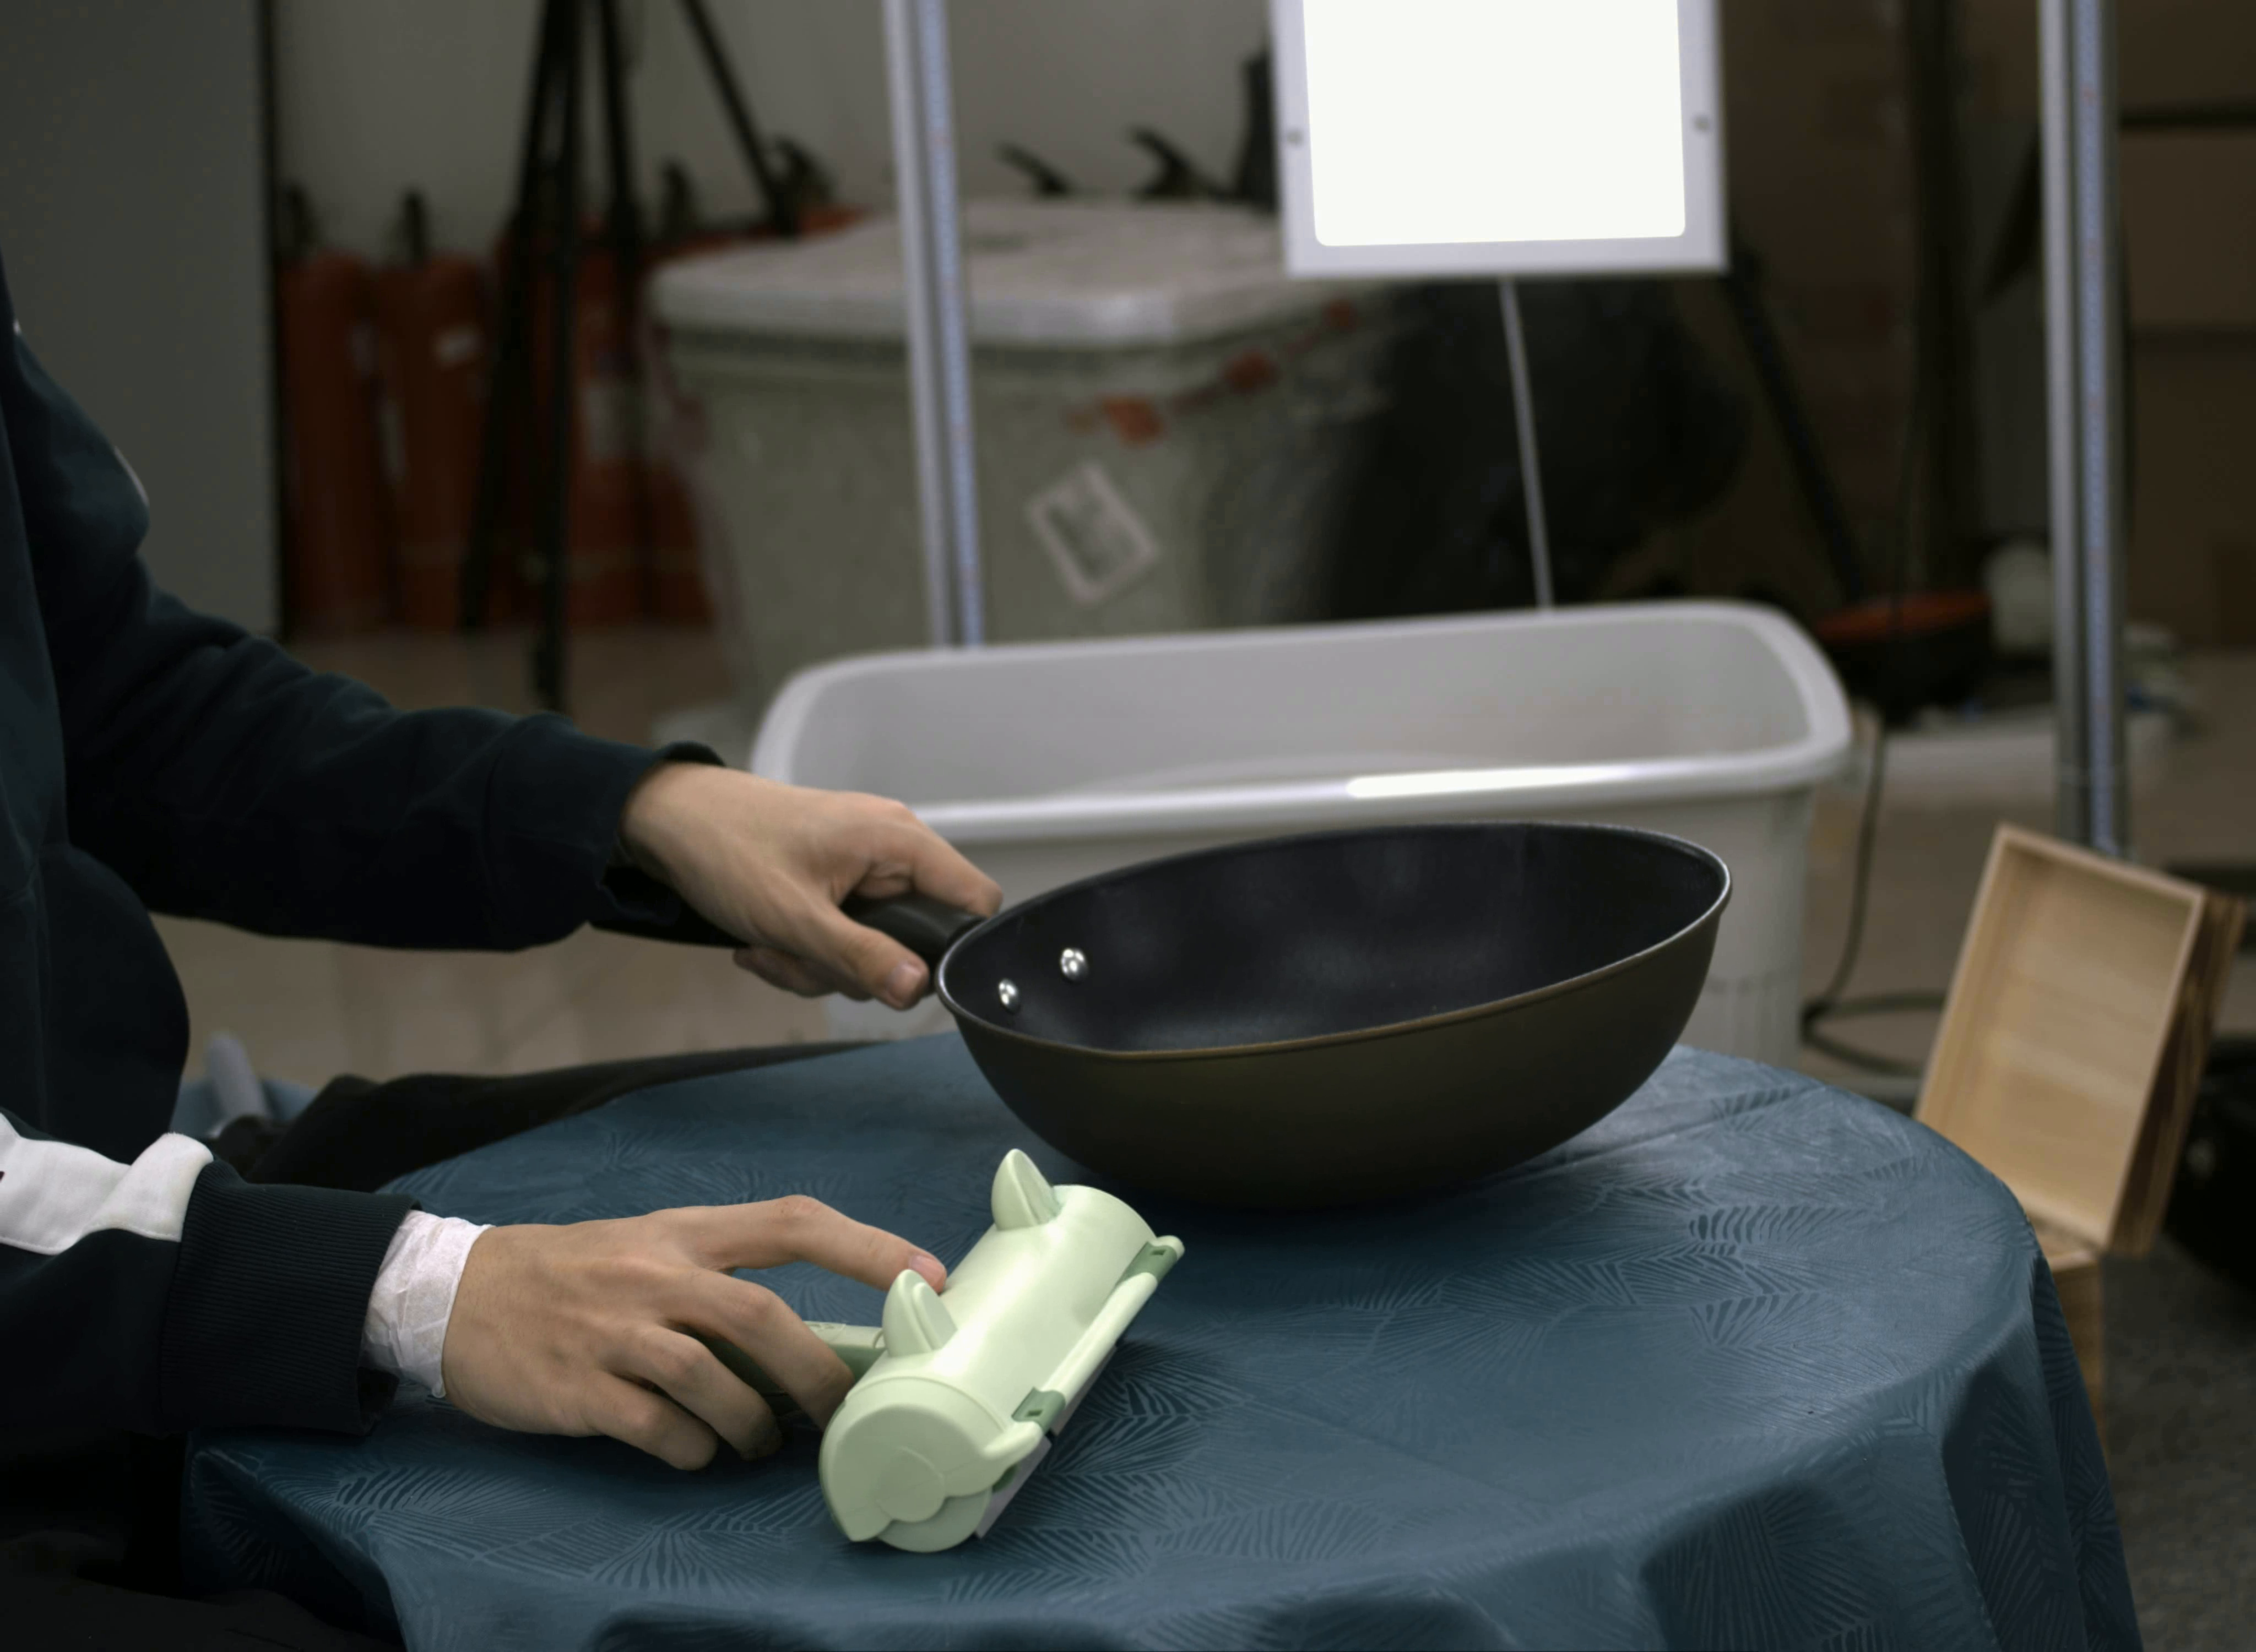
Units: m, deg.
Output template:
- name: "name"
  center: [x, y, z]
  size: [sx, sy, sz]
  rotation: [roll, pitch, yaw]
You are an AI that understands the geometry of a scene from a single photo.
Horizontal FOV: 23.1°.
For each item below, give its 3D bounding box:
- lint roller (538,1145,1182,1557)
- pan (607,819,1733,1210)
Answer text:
- name: "lint roller"
  center: [-0.093, 0.150, 1.674]
  size: [0.185, 0.082, 0.195]
  rotation: [5, 16, 15]
- name: "pan"
  center: [0.000, 0.070, 1.957]
  size: [0.473, 0.087, 0.281]
  rotation: [-1, 16, 35]
